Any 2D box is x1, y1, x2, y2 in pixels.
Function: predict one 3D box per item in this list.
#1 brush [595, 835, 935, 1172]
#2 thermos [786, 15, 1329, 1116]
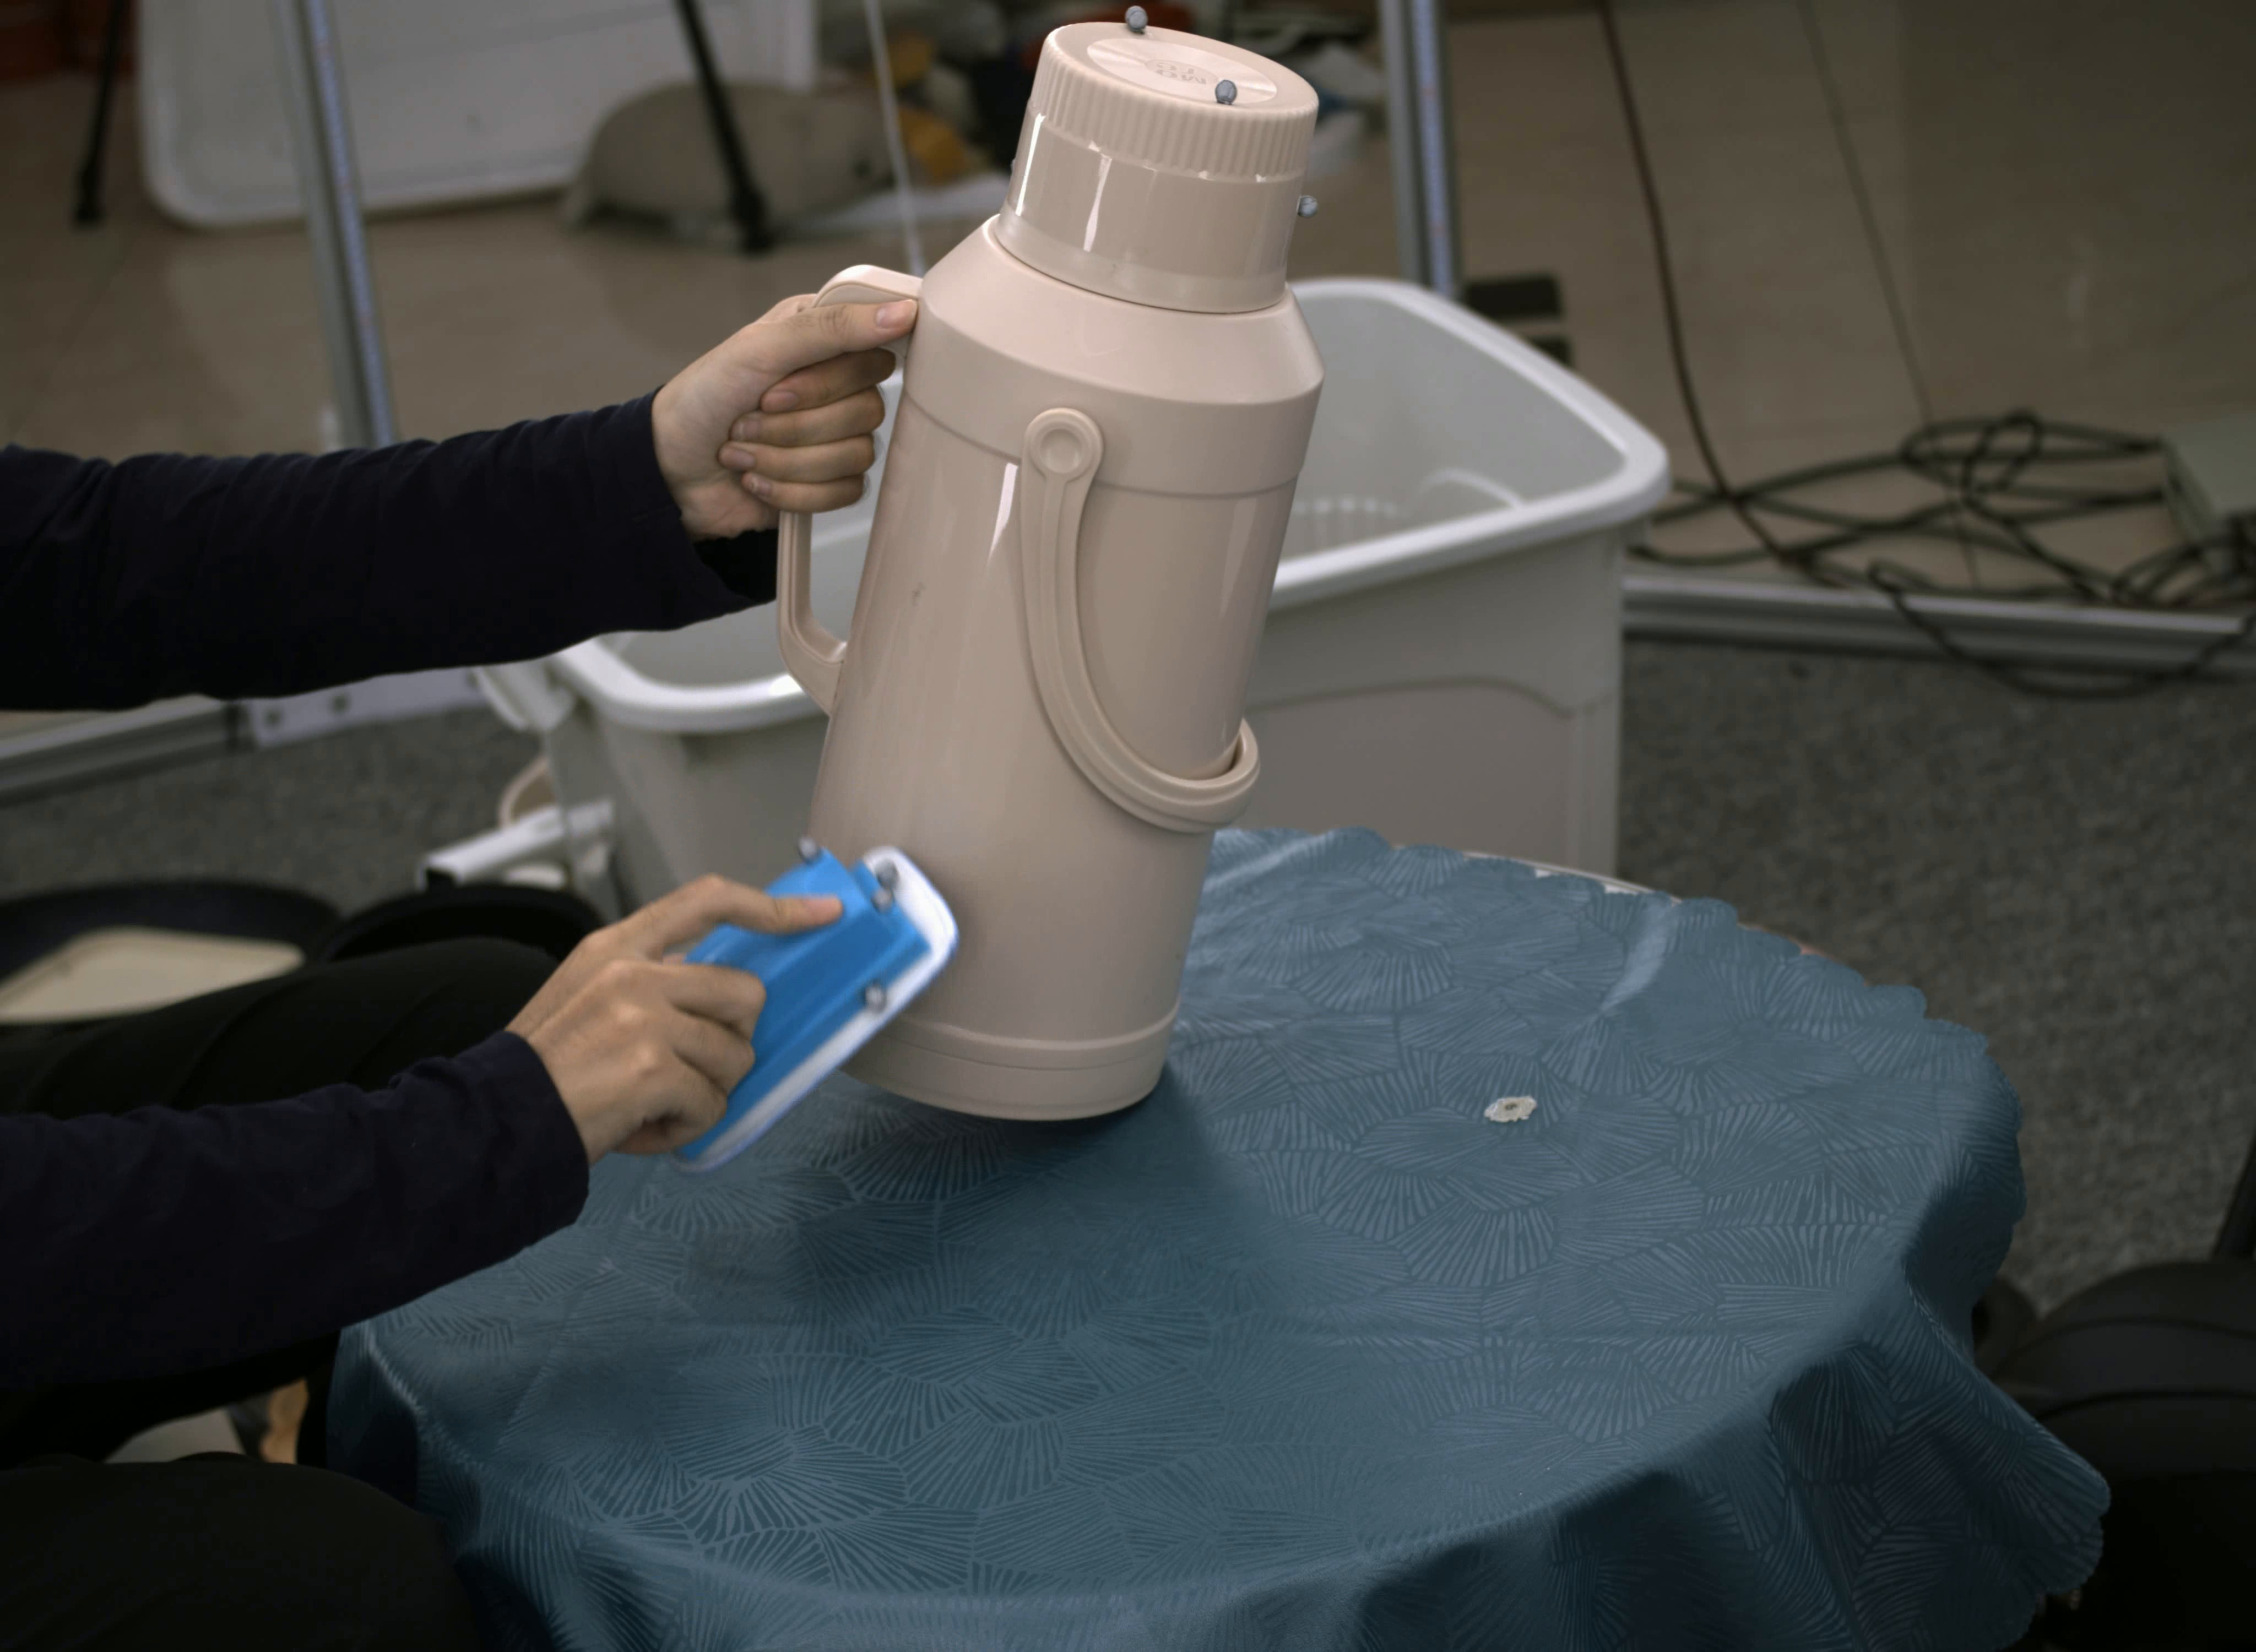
[{"bbox_3d":[-0.142,0.059,2.096,0.144,0.057,0.082,-39,38,2],"label":"brush"},{"bbox_3d":[-0.033,-0.104,2.159,0.206,0.412,0.173,14,25,5],"label":"thermos"}]
